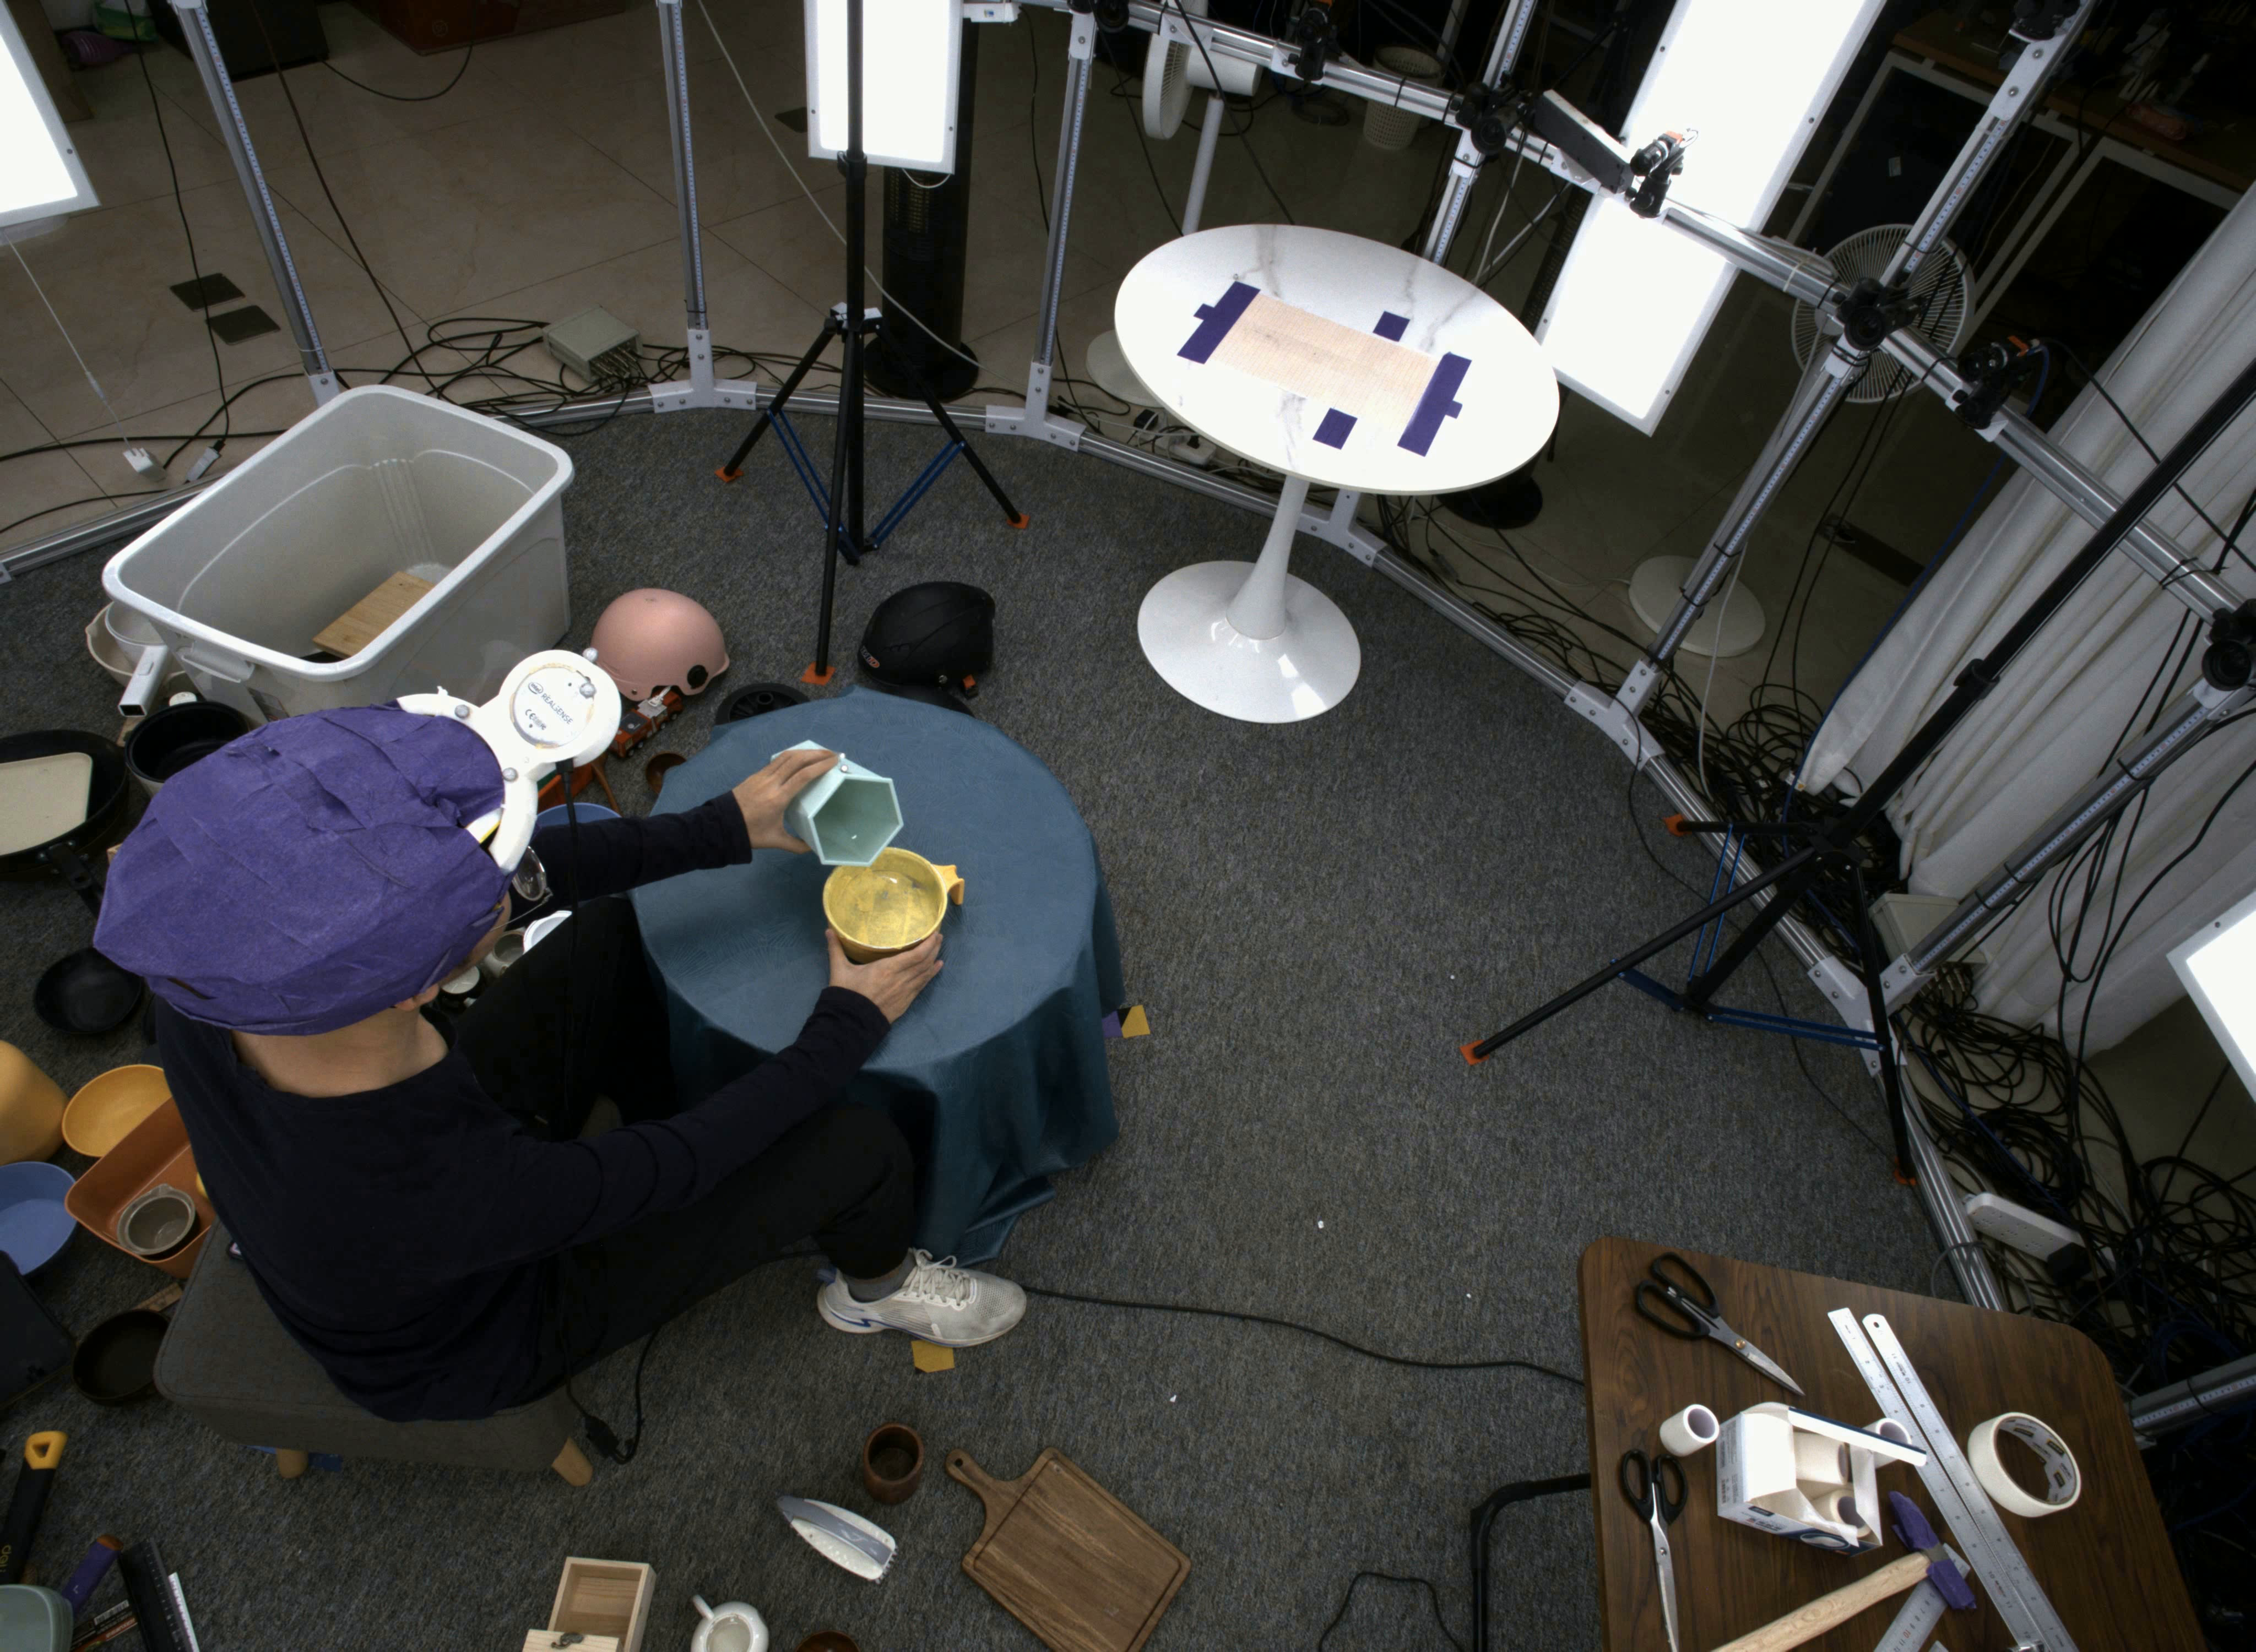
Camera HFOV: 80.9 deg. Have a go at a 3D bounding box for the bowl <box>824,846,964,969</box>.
[{"bbox_3d":[-0.291,0.102,1.640,0.180,0.076,0.149,-26,63,-26],"label":"bowl"}]

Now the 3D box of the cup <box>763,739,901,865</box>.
[{"bbox_3d":[-0.374,-0.036,1.601,0.115,0.136,0.156,-30,37,-26],"label":"cup"}]
